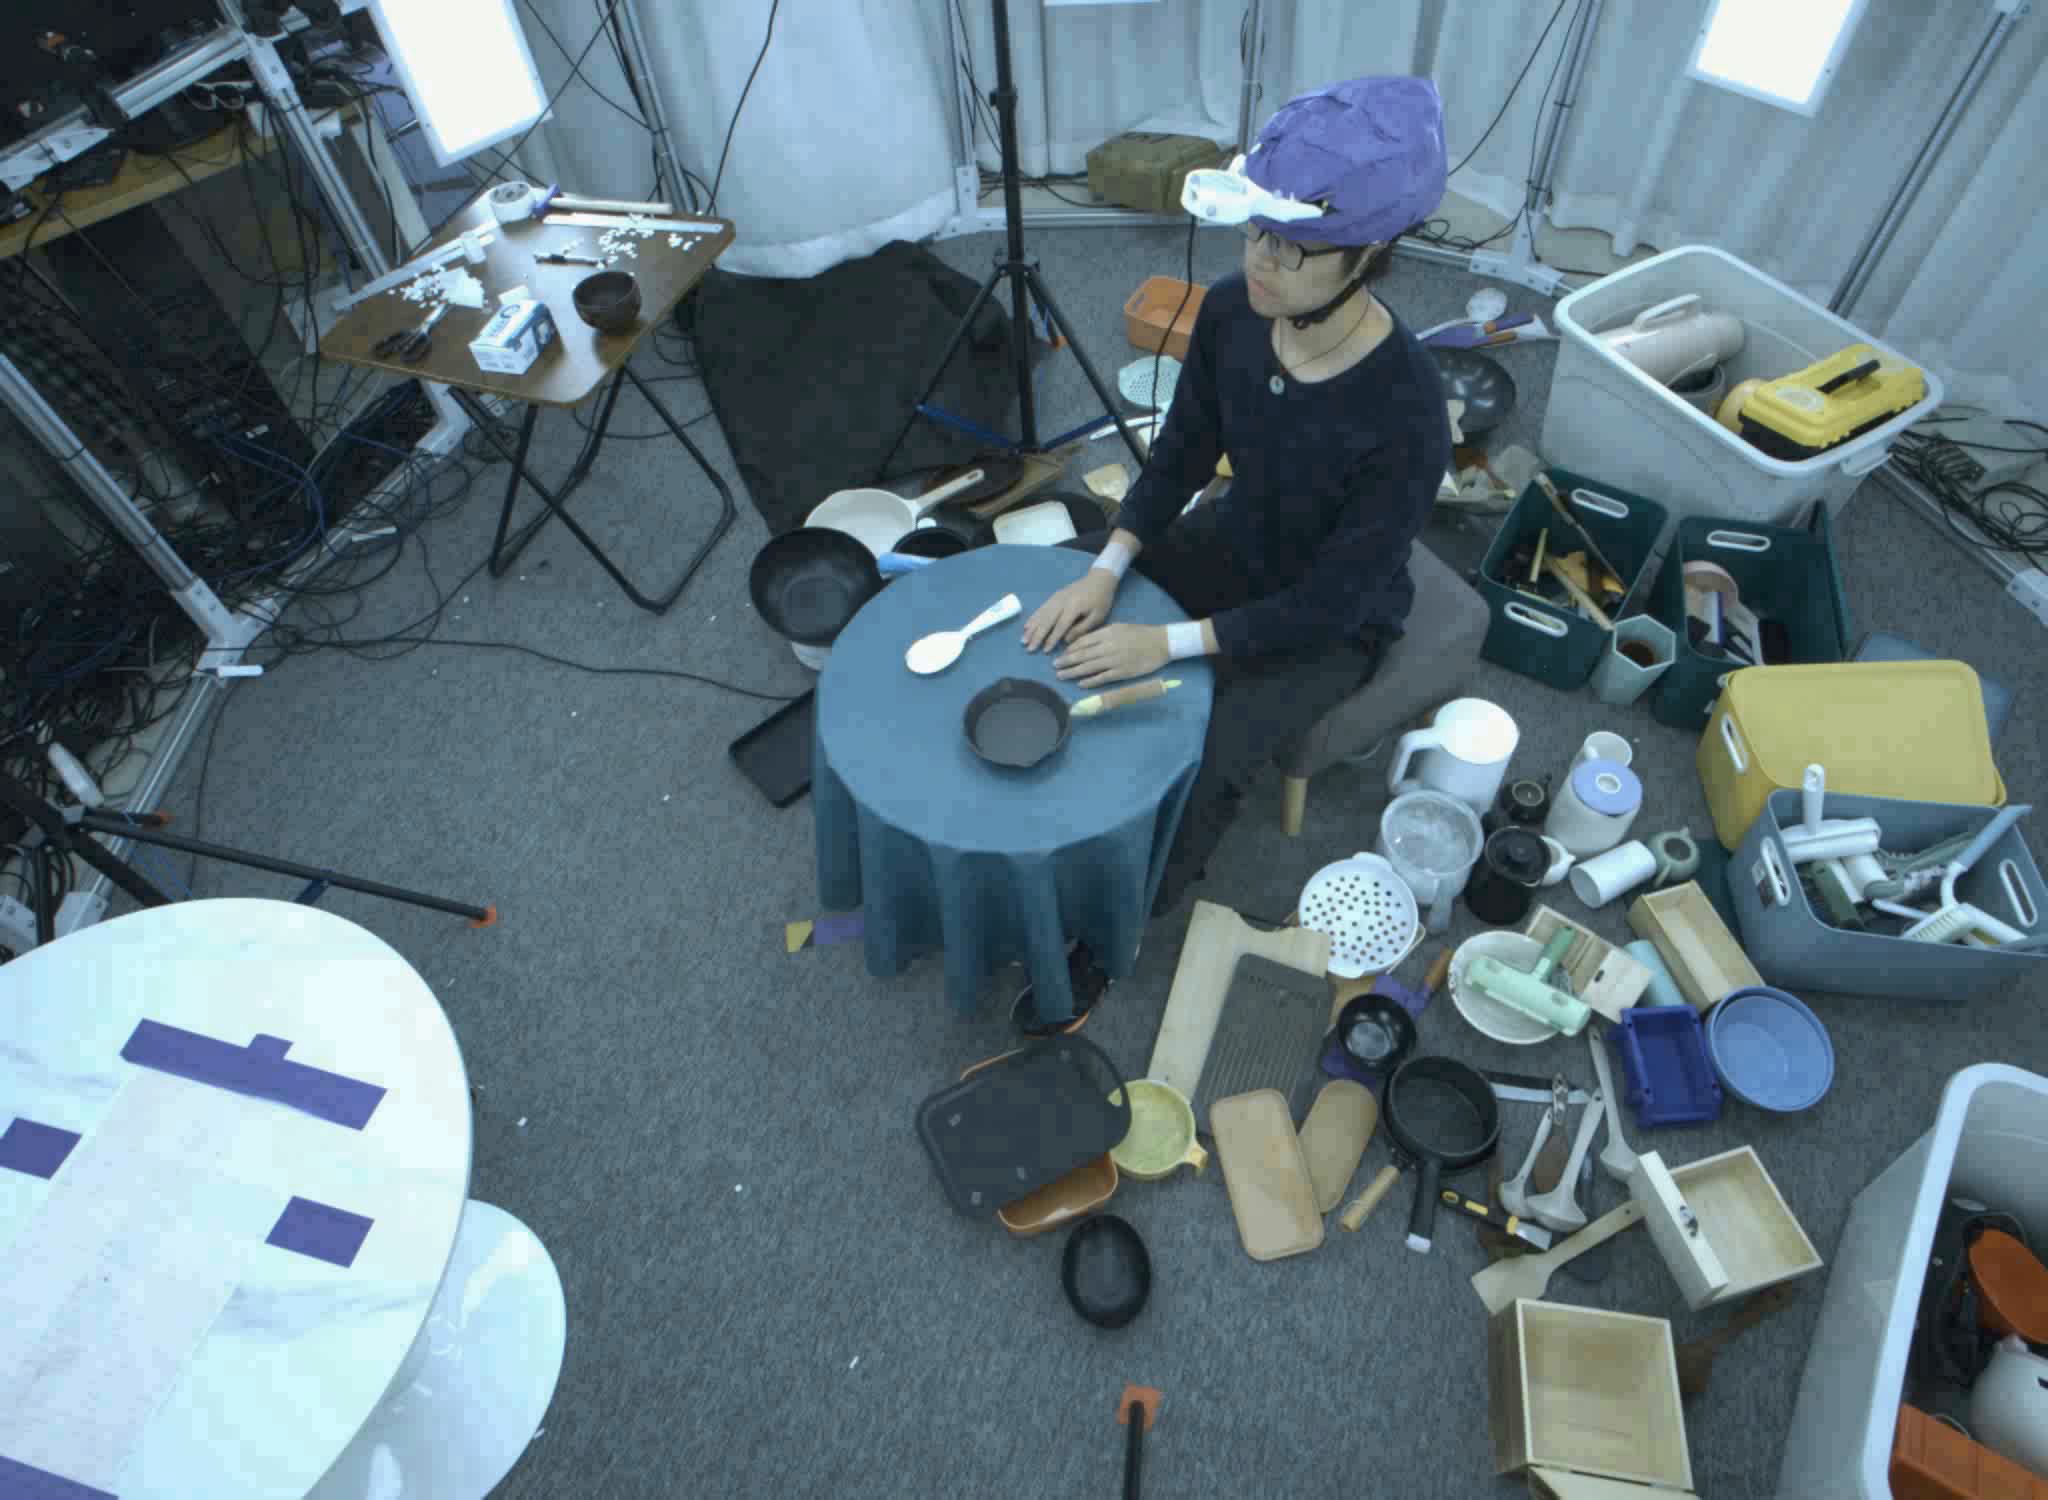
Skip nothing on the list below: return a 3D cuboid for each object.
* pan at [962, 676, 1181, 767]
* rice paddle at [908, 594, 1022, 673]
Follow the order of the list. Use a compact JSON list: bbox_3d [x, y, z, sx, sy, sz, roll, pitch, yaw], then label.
[{"bbox_3d":[0.071,-0.056,1.793,0.325,0.050,0.166,-11,55,-4],"label":"pan"},{"bbox_3d":[-0.092,-0.180,1.900,0.207,0.030,0.067,-34,59,-21],"label":"rice paddle"}]
